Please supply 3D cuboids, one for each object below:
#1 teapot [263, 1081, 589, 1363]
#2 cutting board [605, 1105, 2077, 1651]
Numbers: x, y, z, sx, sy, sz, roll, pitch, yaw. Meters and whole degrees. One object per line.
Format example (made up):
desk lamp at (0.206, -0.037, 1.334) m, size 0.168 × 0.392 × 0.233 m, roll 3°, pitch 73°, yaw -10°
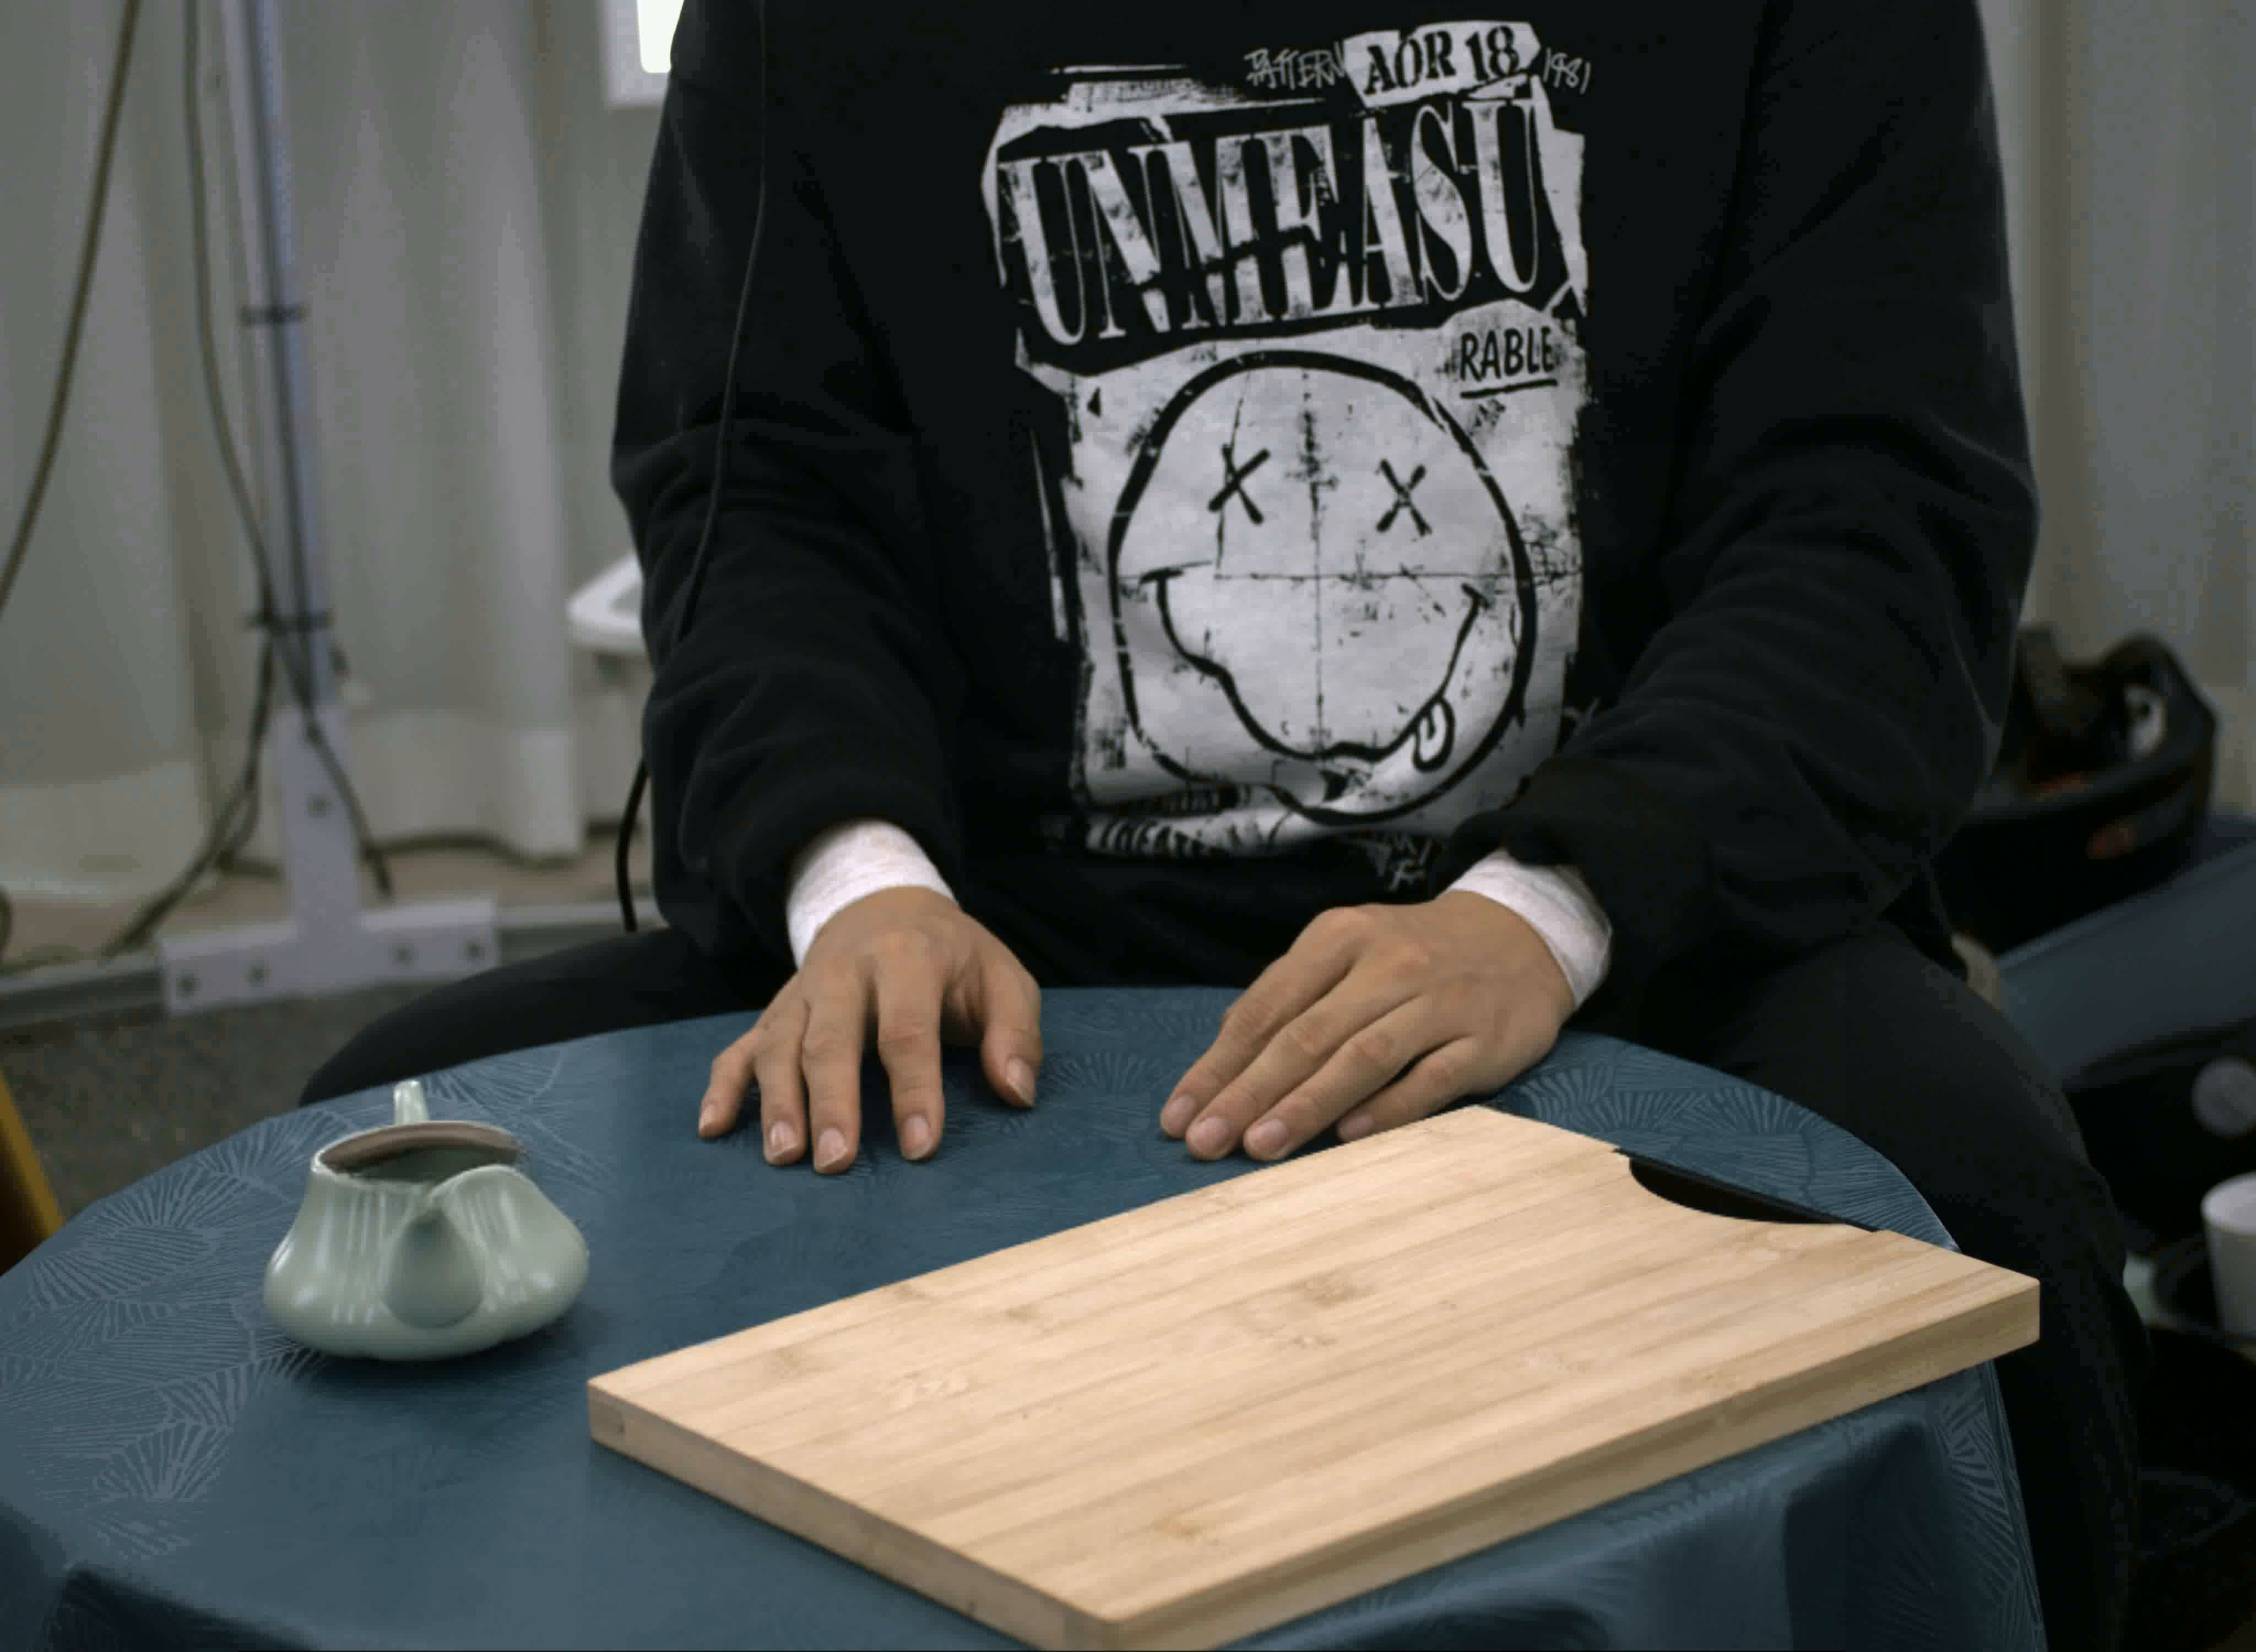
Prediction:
teapot at (-0.209, 0.120, 1.617) m, size 0.096 × 0.061 × 0.138 m, roll -7°, pitch 15°, yaw -11°
cutting board at (0.058, 0.151, 1.538) m, size 0.347 × 0.023 × 0.252 m, roll -15°, pitch 19°, yaw -37°
